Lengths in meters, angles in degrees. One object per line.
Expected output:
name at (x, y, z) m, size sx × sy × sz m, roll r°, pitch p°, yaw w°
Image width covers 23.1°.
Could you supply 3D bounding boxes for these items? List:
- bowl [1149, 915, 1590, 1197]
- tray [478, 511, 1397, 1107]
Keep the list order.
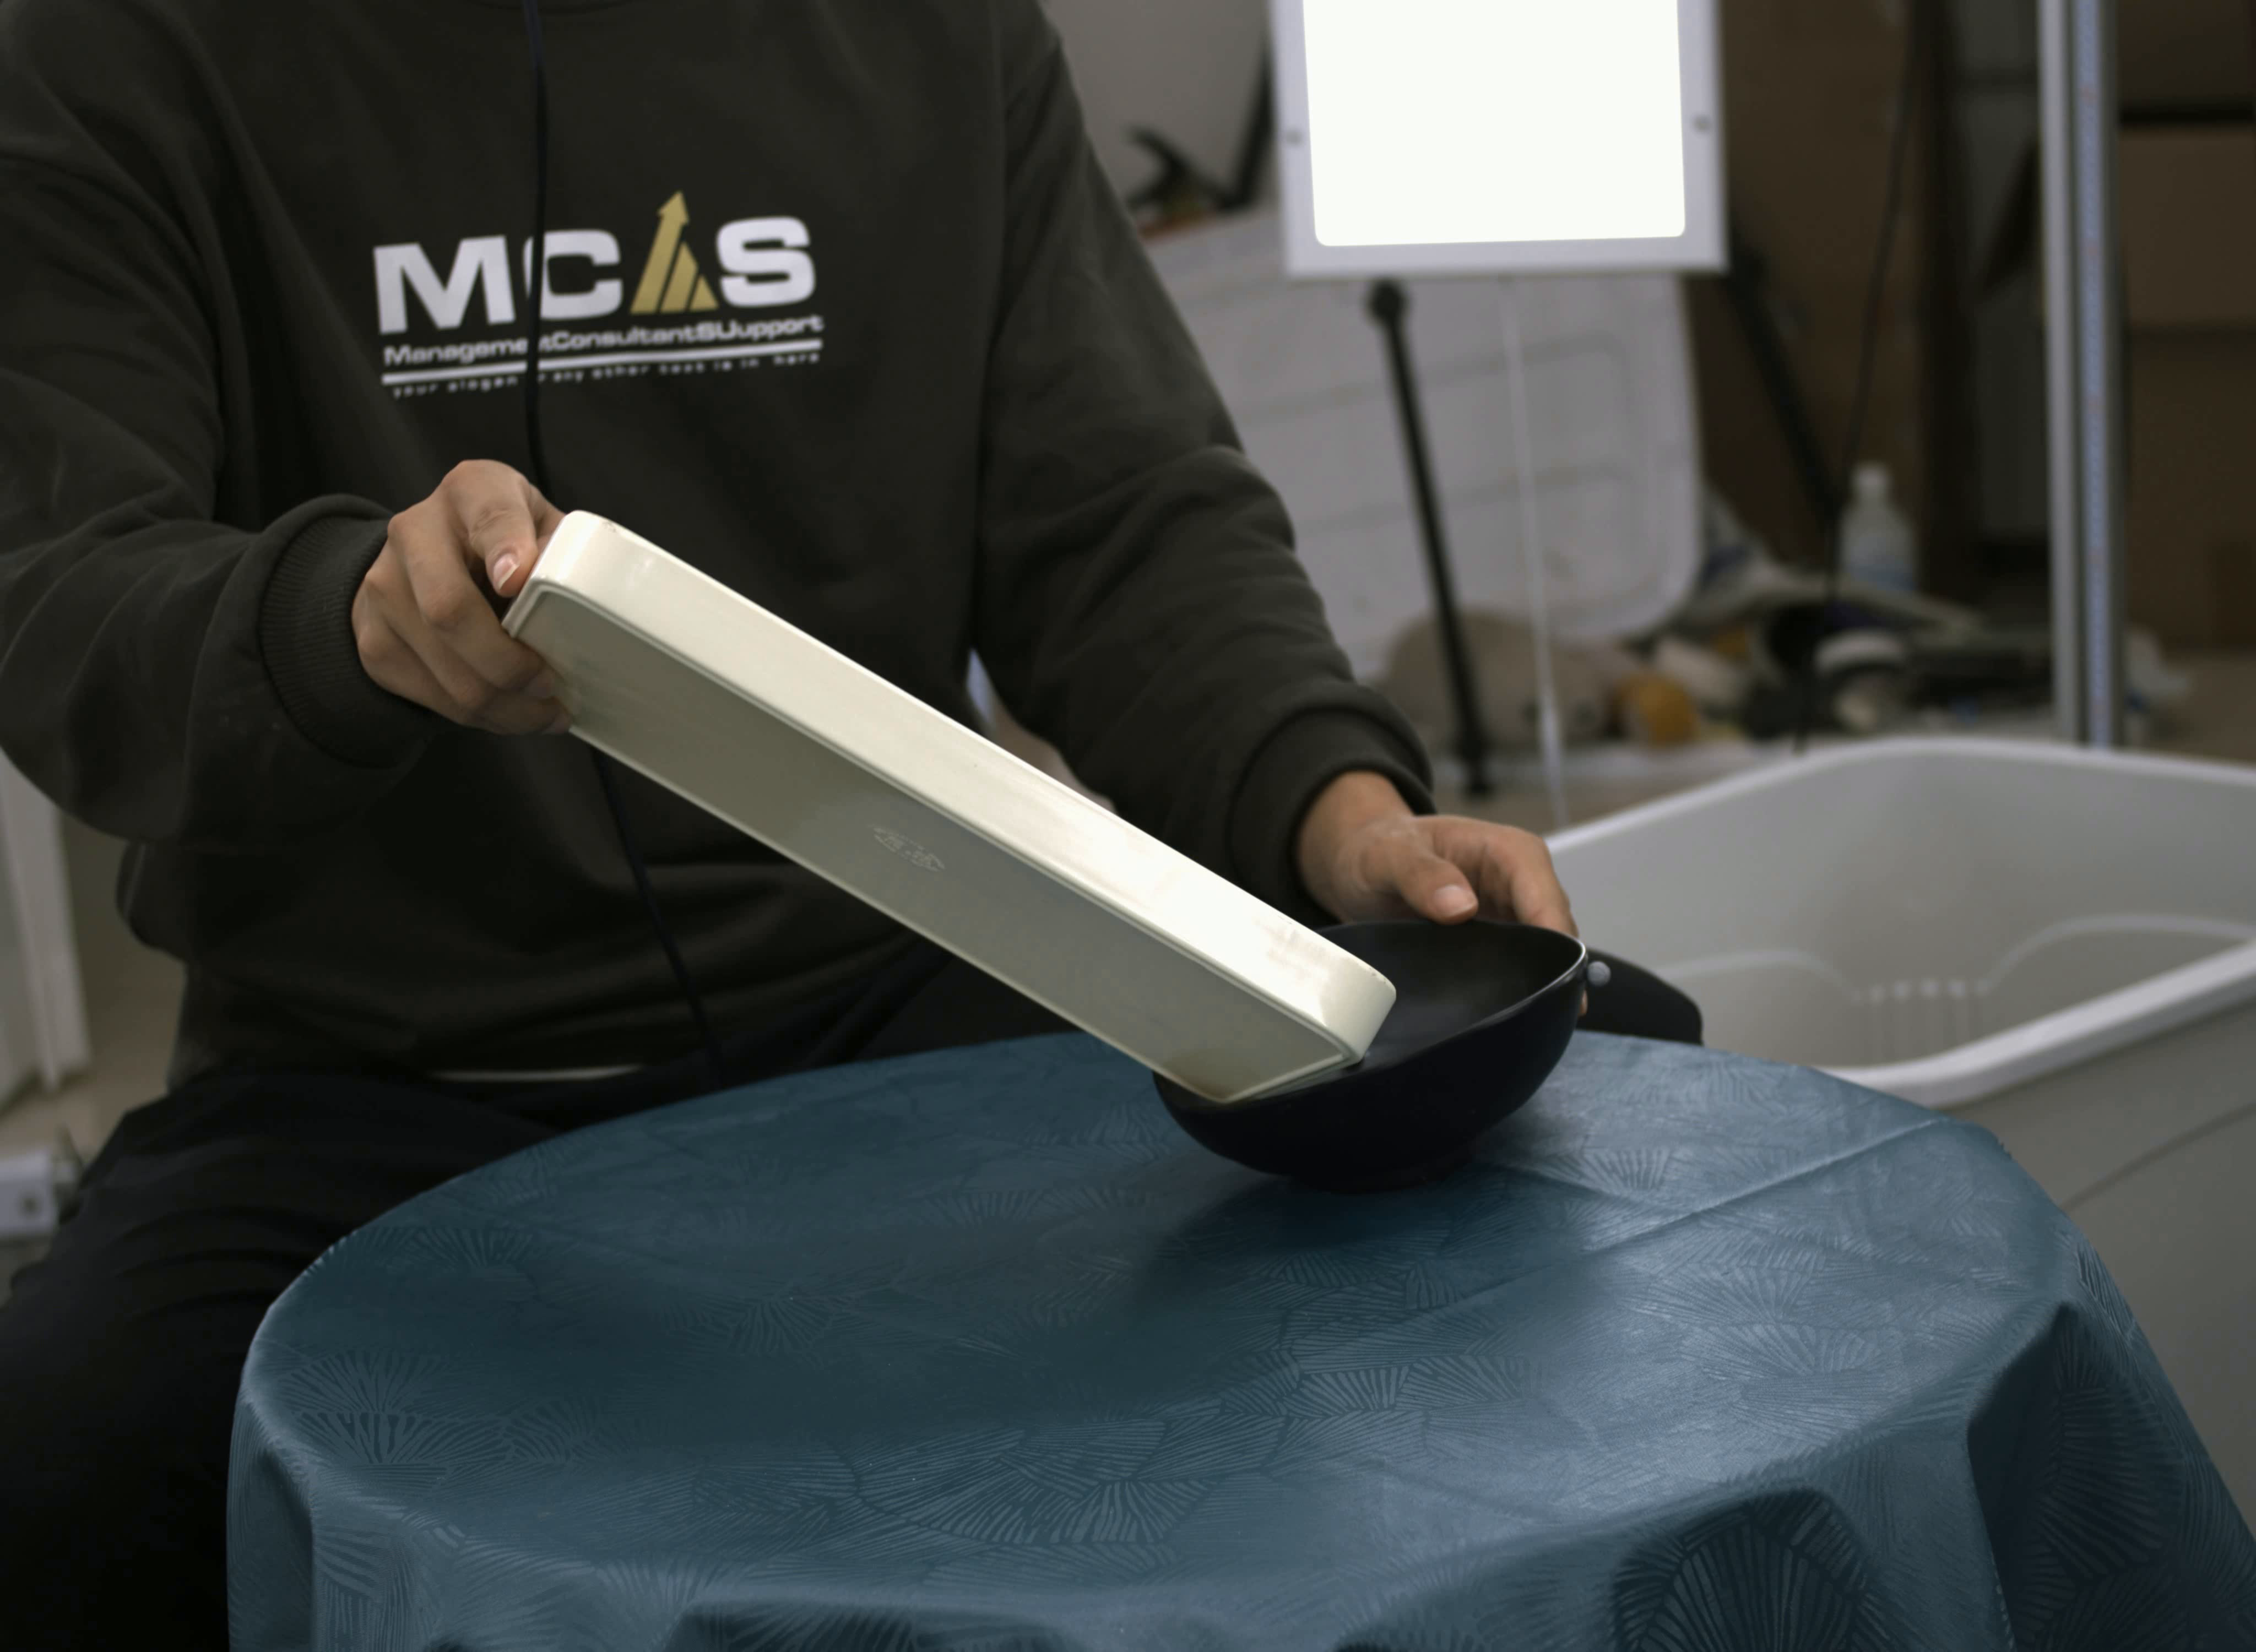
bowl at (0.088, 0.085, 1.896) m, size 0.166 × 0.067 × 0.140 m, roll -25°, pitch 21°, yaw -36°
tray at (-0.066, 0.000, 1.774) m, size 0.299 × 0.027 × 0.193 m, roll 30°, pitch -13°, yaw -5°
